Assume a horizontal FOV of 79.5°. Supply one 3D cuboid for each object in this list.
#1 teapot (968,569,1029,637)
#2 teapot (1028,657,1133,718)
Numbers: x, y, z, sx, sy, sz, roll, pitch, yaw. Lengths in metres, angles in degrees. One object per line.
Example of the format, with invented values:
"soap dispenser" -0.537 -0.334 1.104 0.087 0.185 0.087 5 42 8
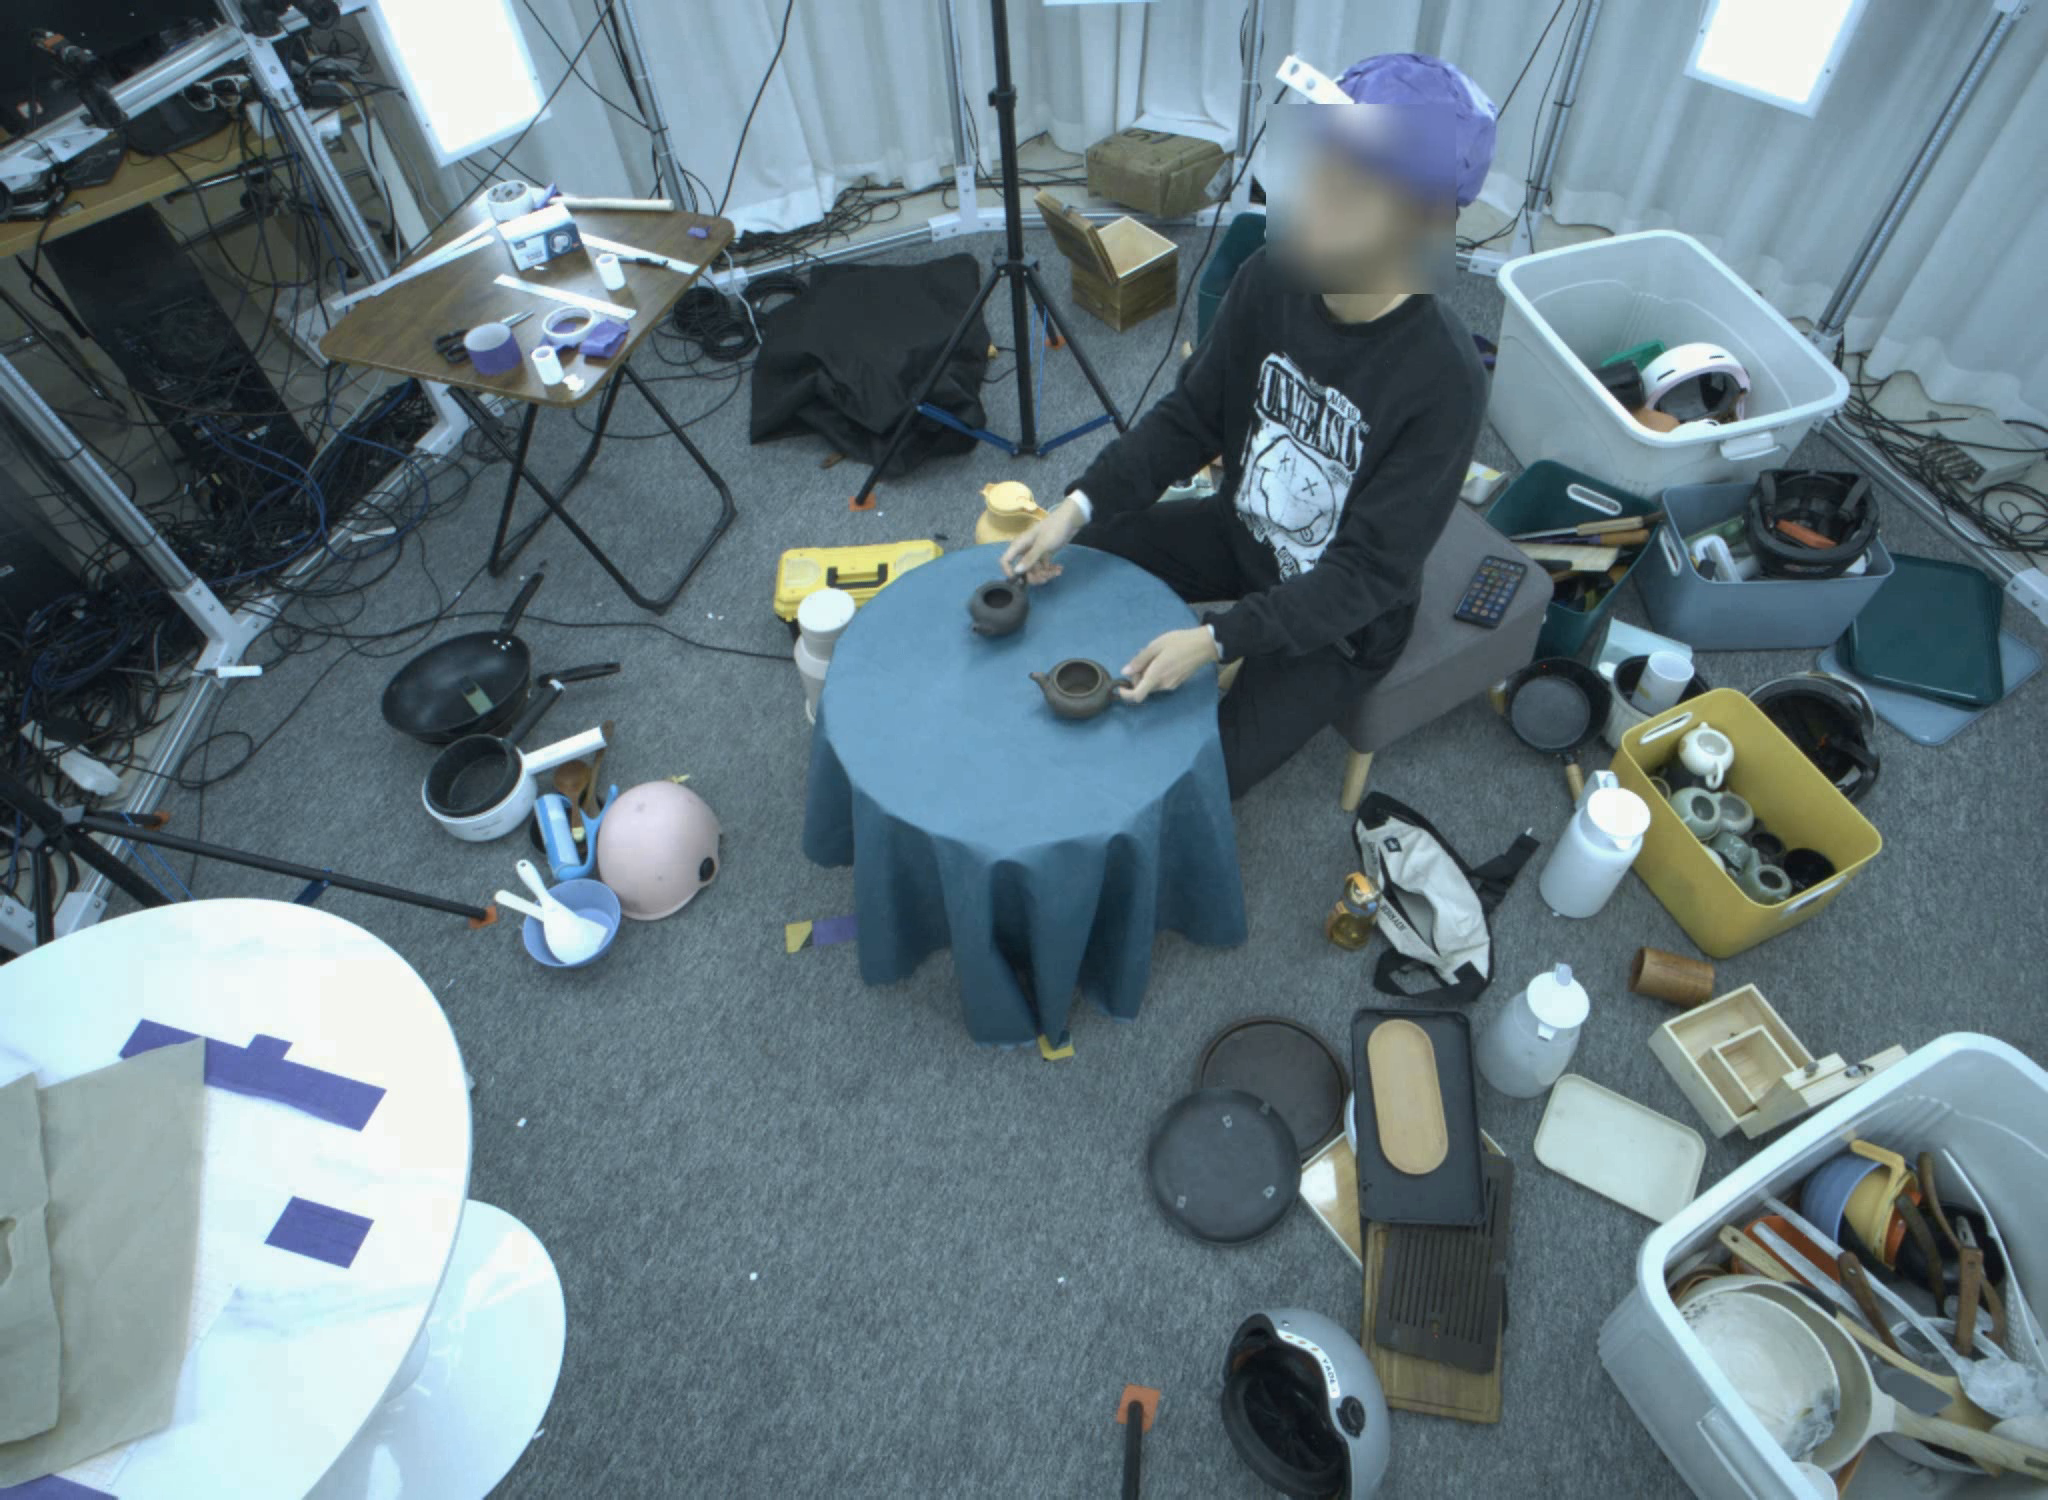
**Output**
"teapot" -0.039 -0.224 1.905 0.091 0.065 0.154 26 60 17
"teapot" 0.084 -0.094 1.814 0.153 0.054 0.101 -1 56 2
